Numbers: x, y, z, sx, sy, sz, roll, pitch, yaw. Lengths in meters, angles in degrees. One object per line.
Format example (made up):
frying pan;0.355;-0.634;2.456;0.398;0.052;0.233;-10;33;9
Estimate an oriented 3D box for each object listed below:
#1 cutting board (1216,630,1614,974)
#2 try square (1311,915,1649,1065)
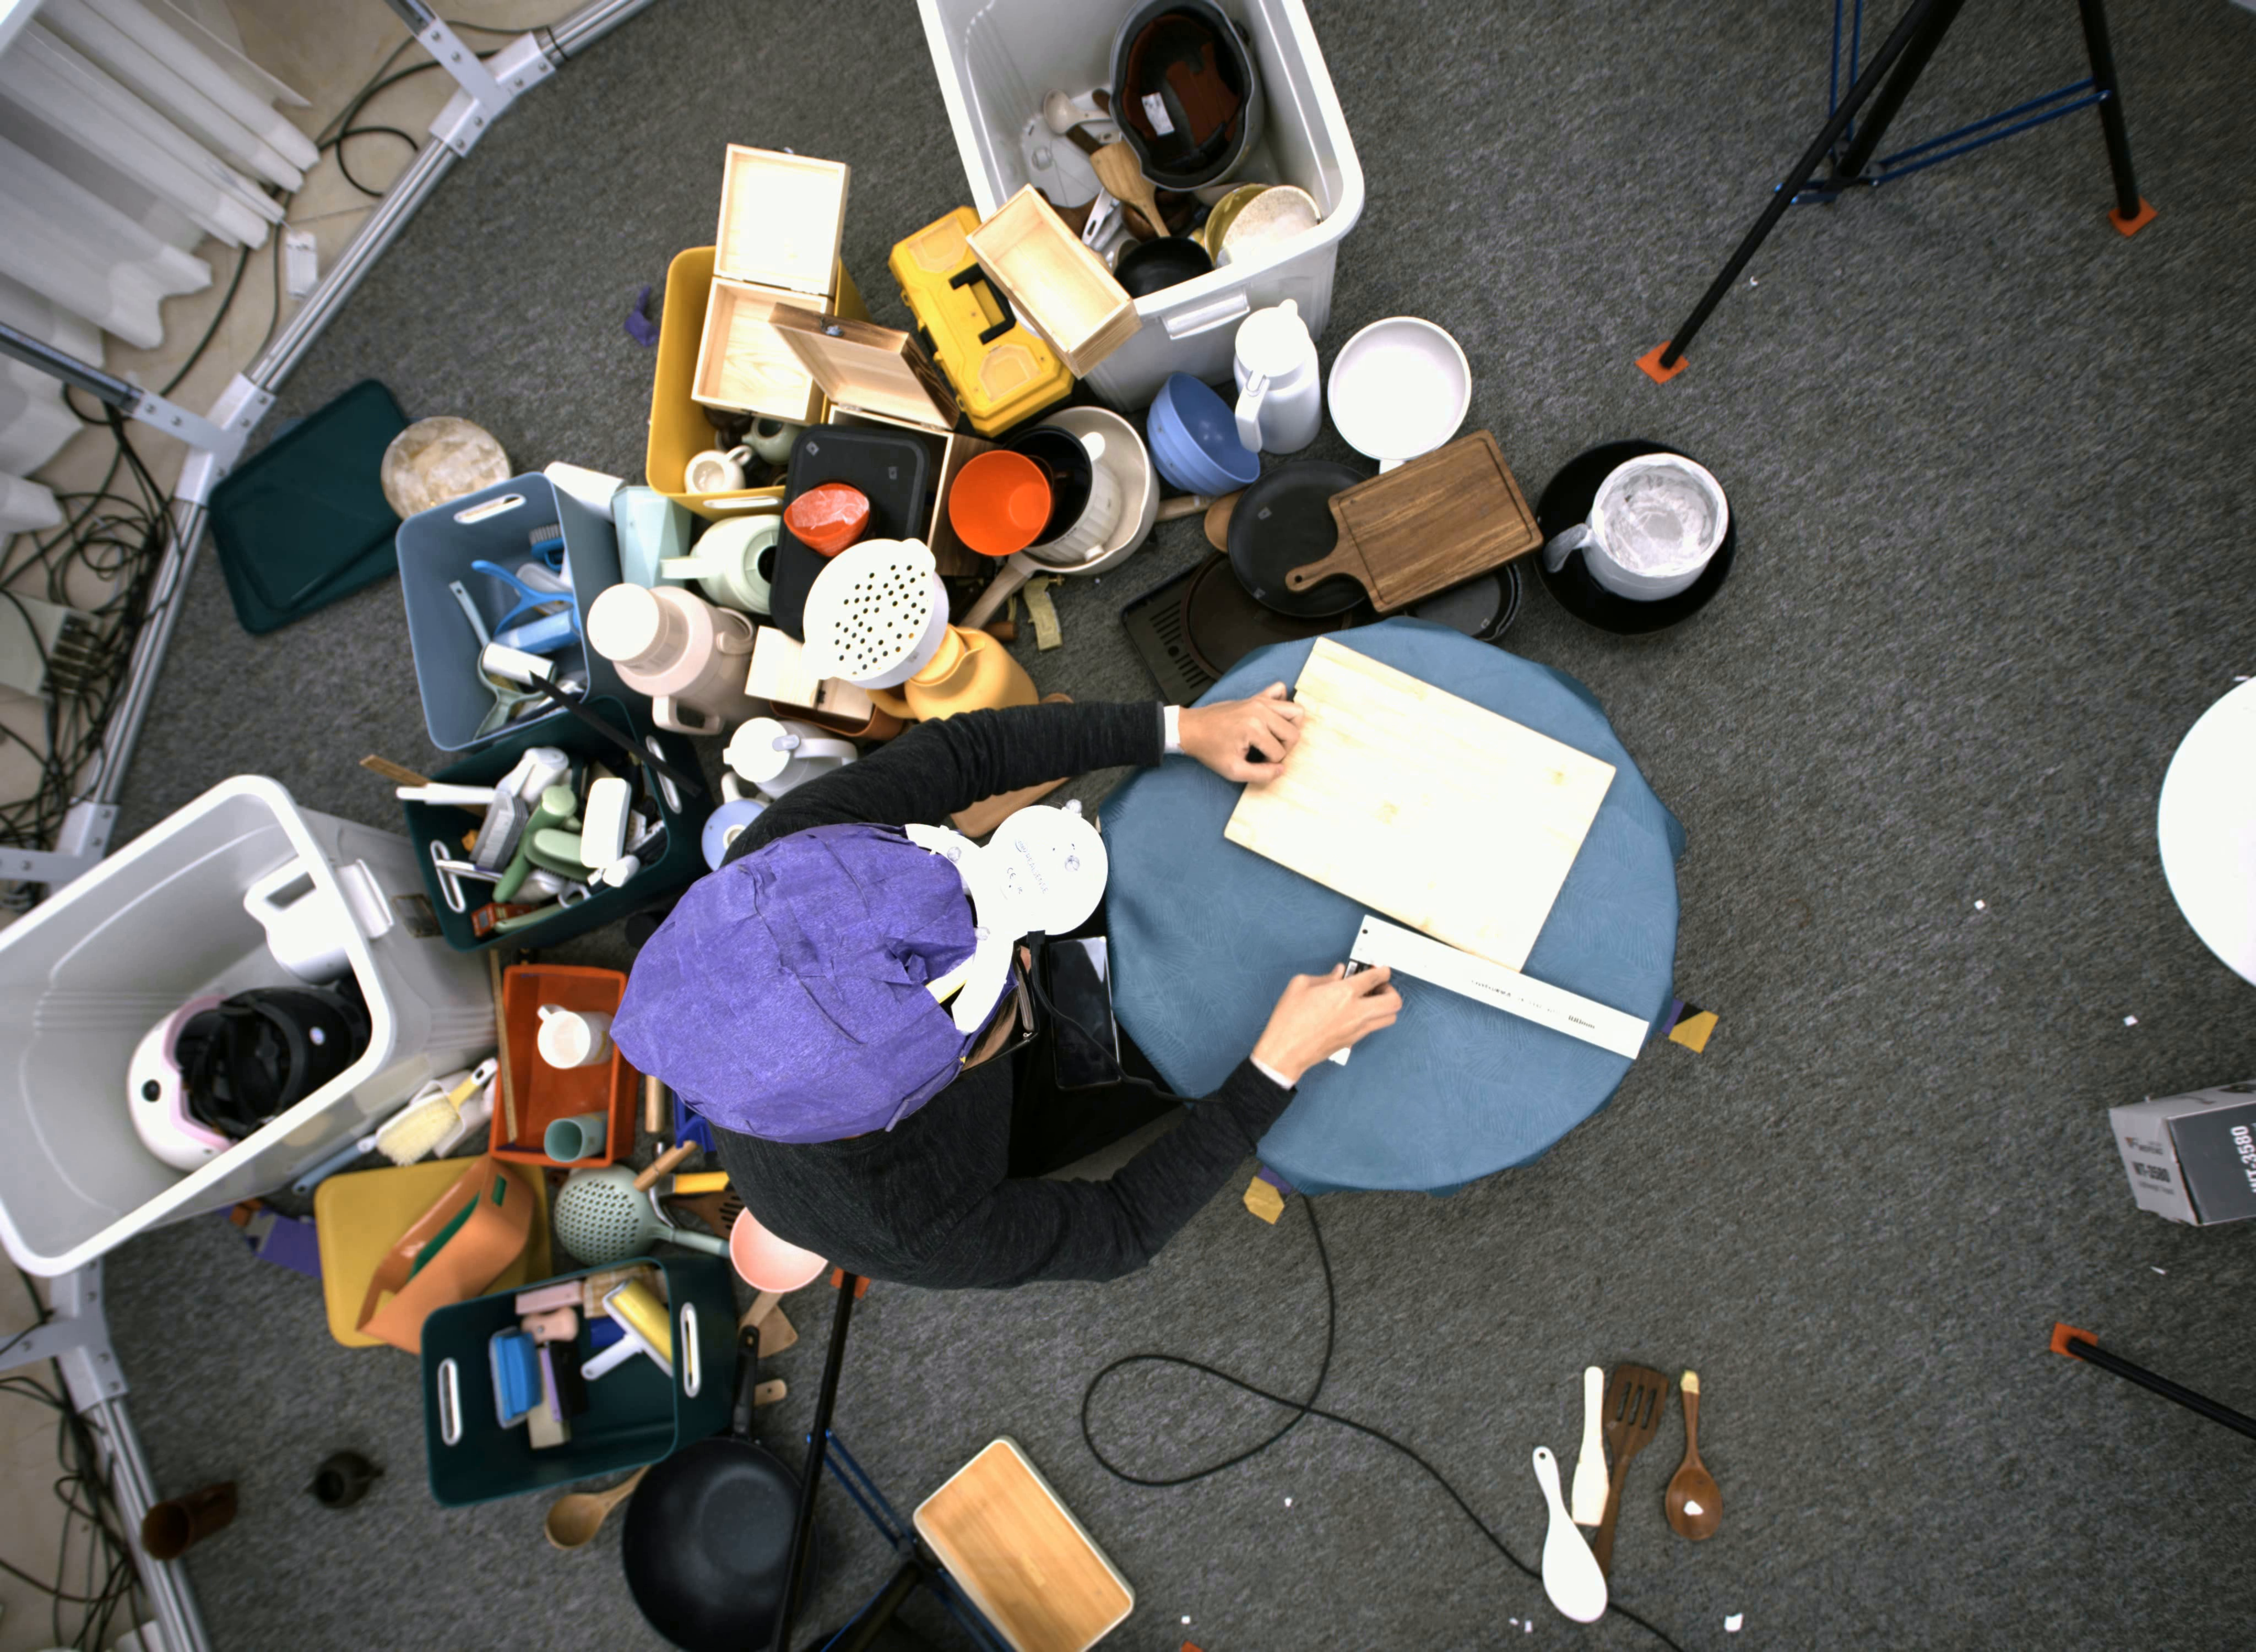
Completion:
cutting board;0.299;-0.029;1.452;0.348;0.023;0.251;25;91;11
try square;0.358;0.212;1.407;0.313;0.016;0.152;20;92;3
